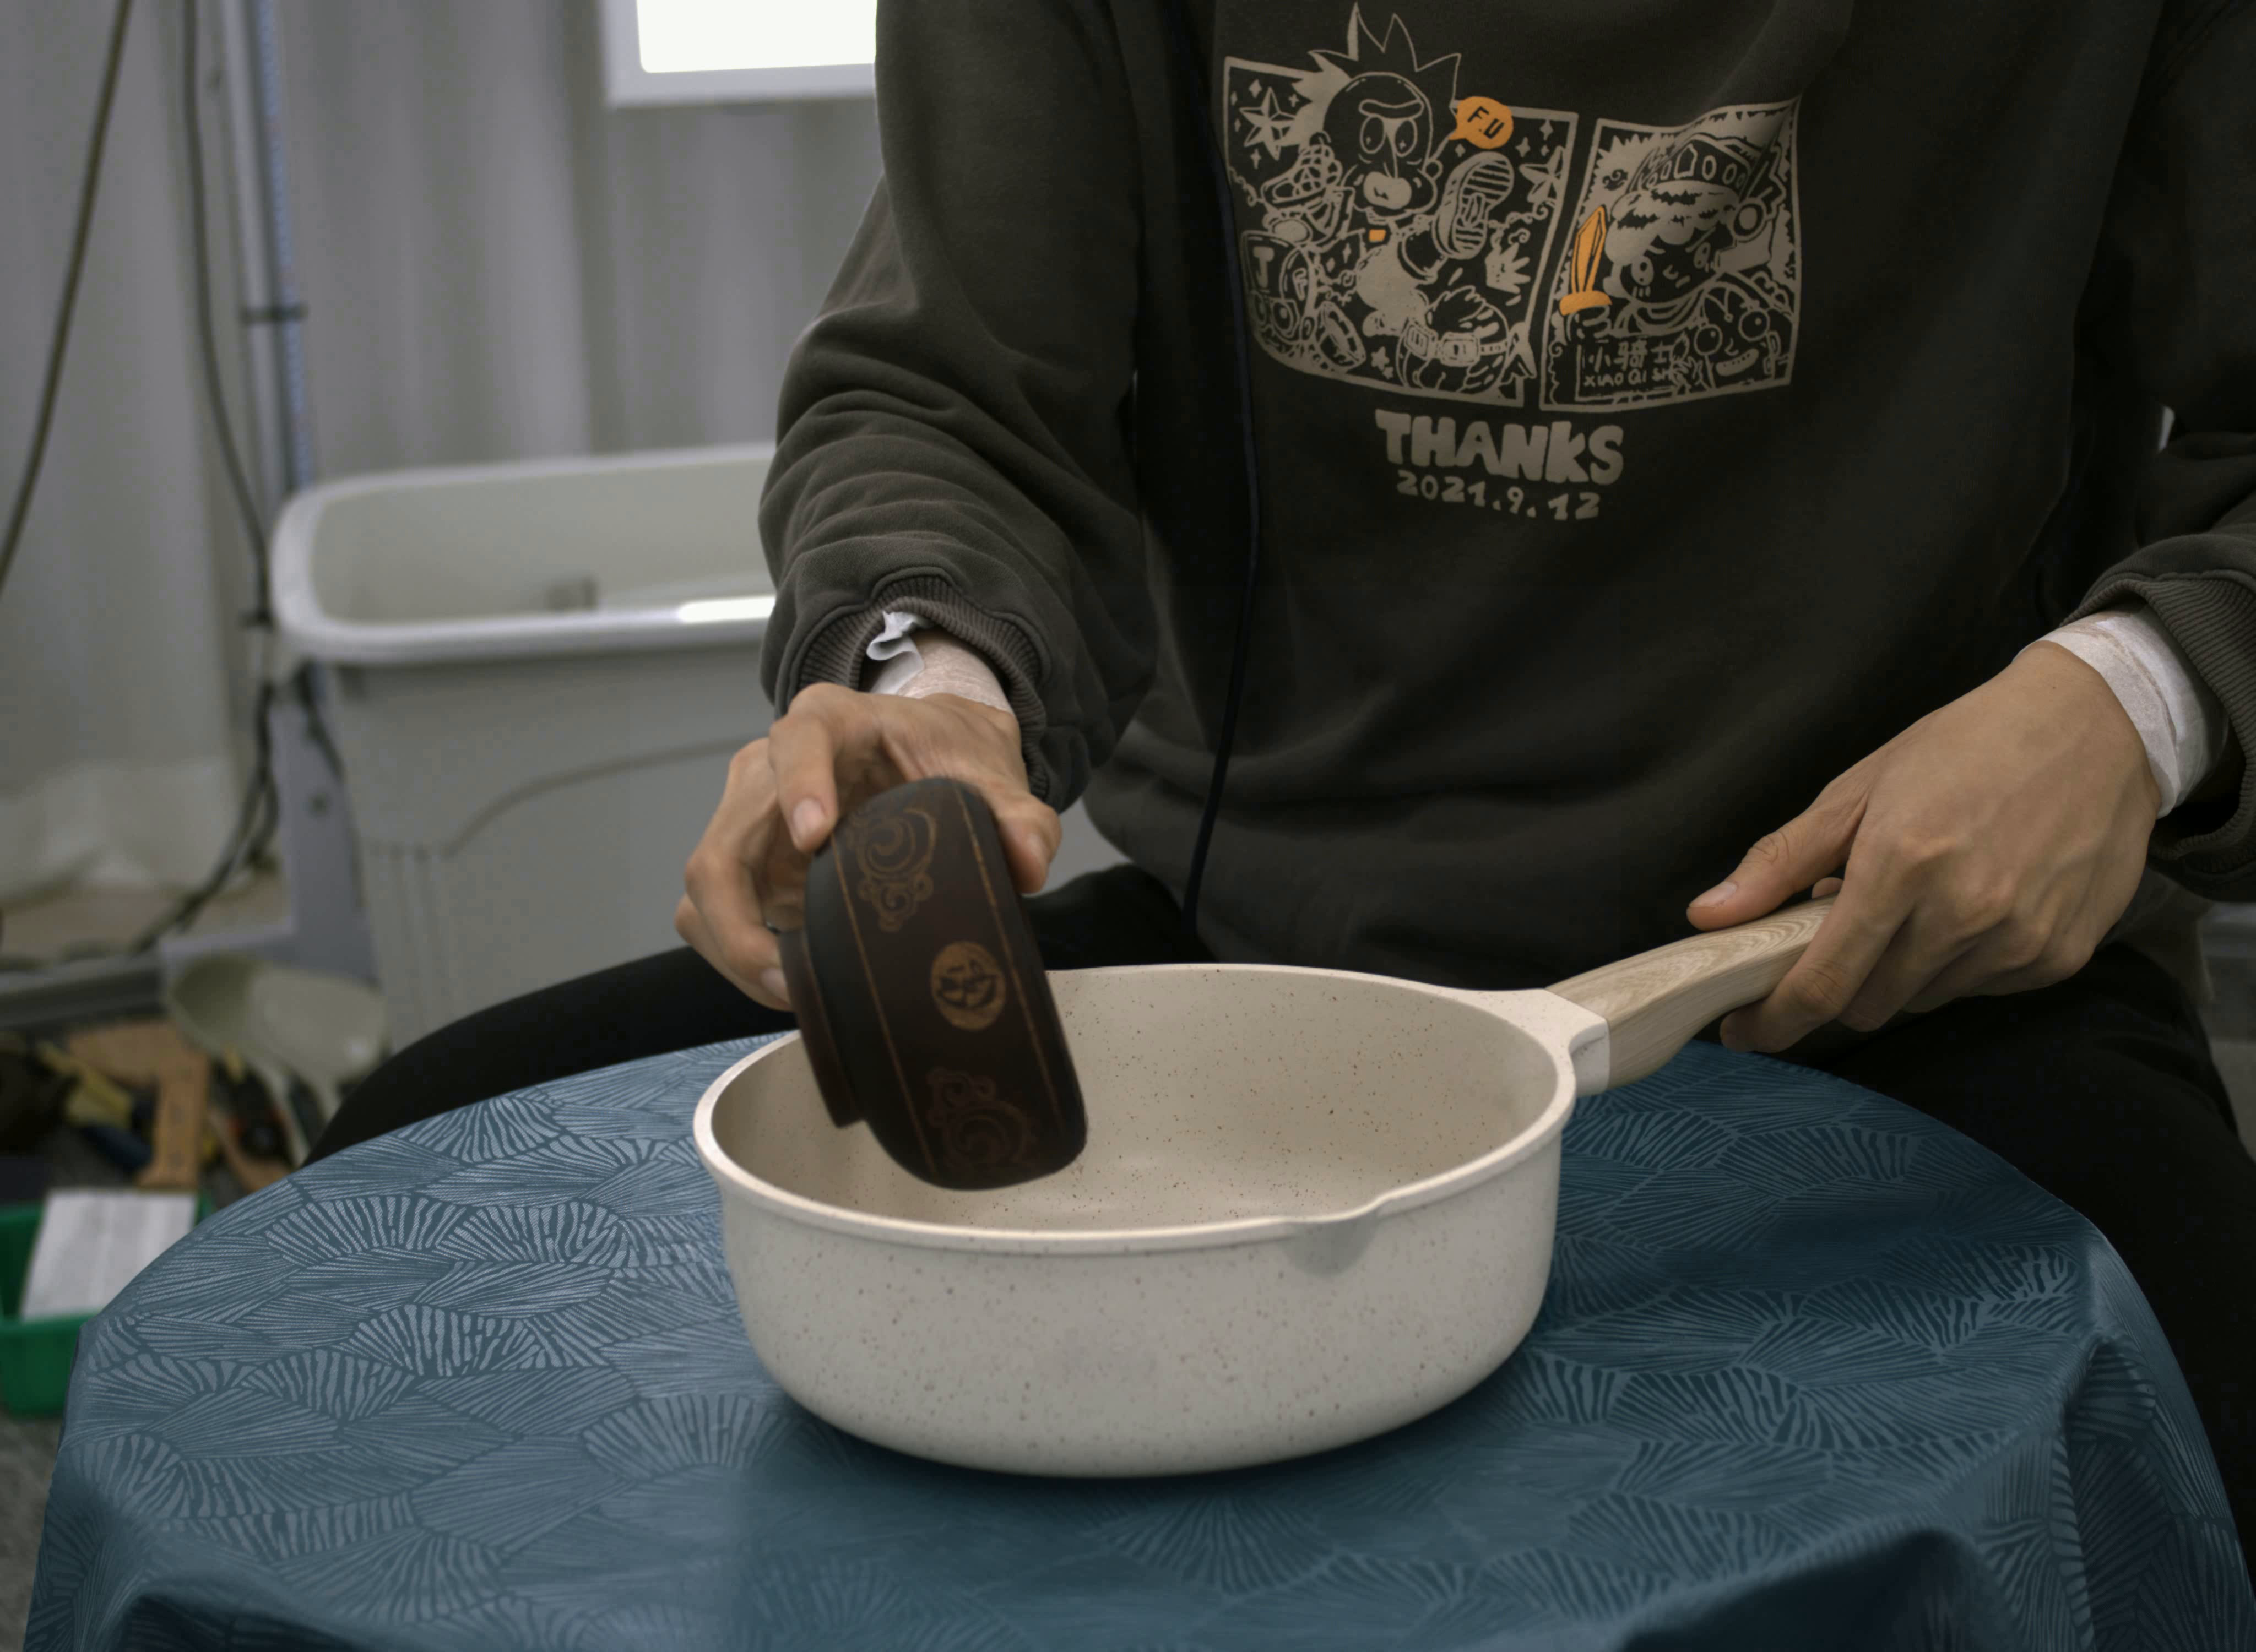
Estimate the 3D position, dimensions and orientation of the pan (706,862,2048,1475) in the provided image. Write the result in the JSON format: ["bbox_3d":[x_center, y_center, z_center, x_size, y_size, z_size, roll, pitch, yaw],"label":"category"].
[{"bbox_3d":[0.089,0.094,1.596,0.433,0.101,0.265,-9,14,-24],"label":"pan"}]

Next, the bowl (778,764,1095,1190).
[{"bbox_3d":[-0.058,0.047,1.537,0.069,0.117,0.119,-16,15,-2],"label":"bowl"}]
